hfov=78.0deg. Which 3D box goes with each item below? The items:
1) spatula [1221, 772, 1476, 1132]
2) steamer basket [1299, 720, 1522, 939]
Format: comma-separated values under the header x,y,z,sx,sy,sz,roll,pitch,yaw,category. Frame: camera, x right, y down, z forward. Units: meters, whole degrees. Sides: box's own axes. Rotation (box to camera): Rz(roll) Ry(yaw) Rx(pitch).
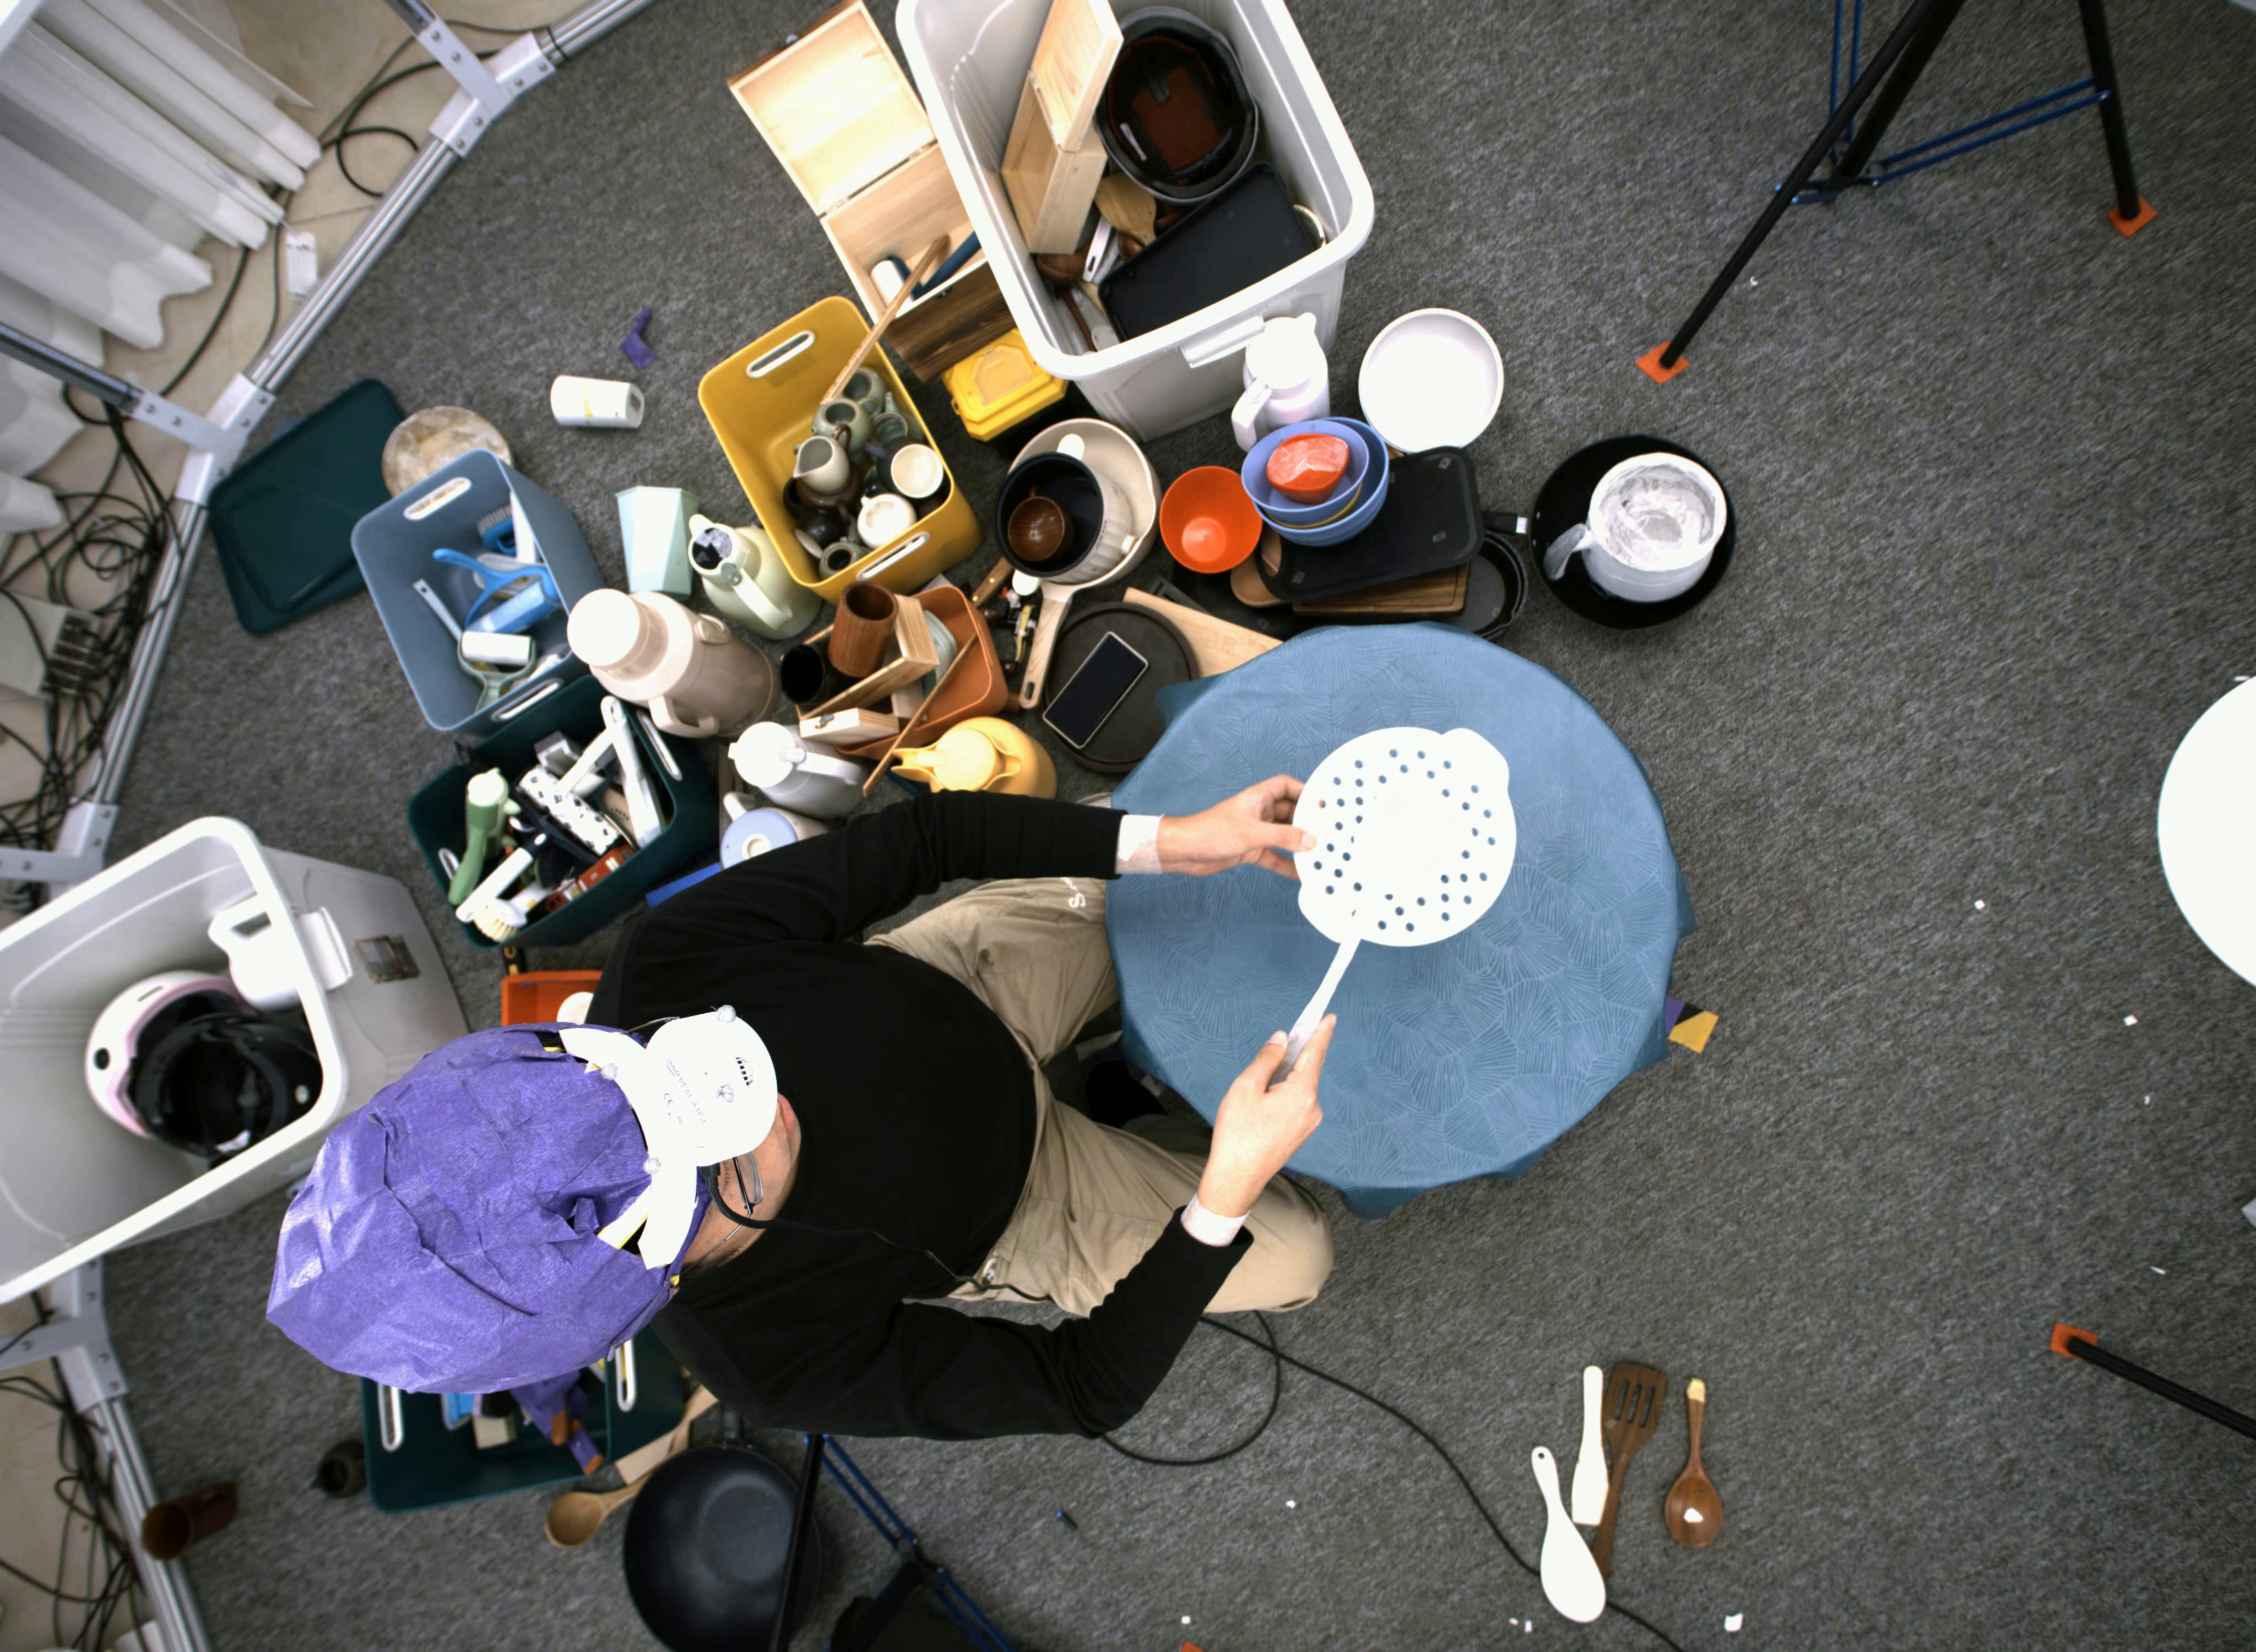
x,y,z,sx,sy,sz,roll,pitch,yaw,category
0.188,0.118,1.218,0.099,0.045,0.360,35,77,-14,spatula
0.263,0.003,1.283,0.201,0.069,0.232,45,100,10,steamer basket
